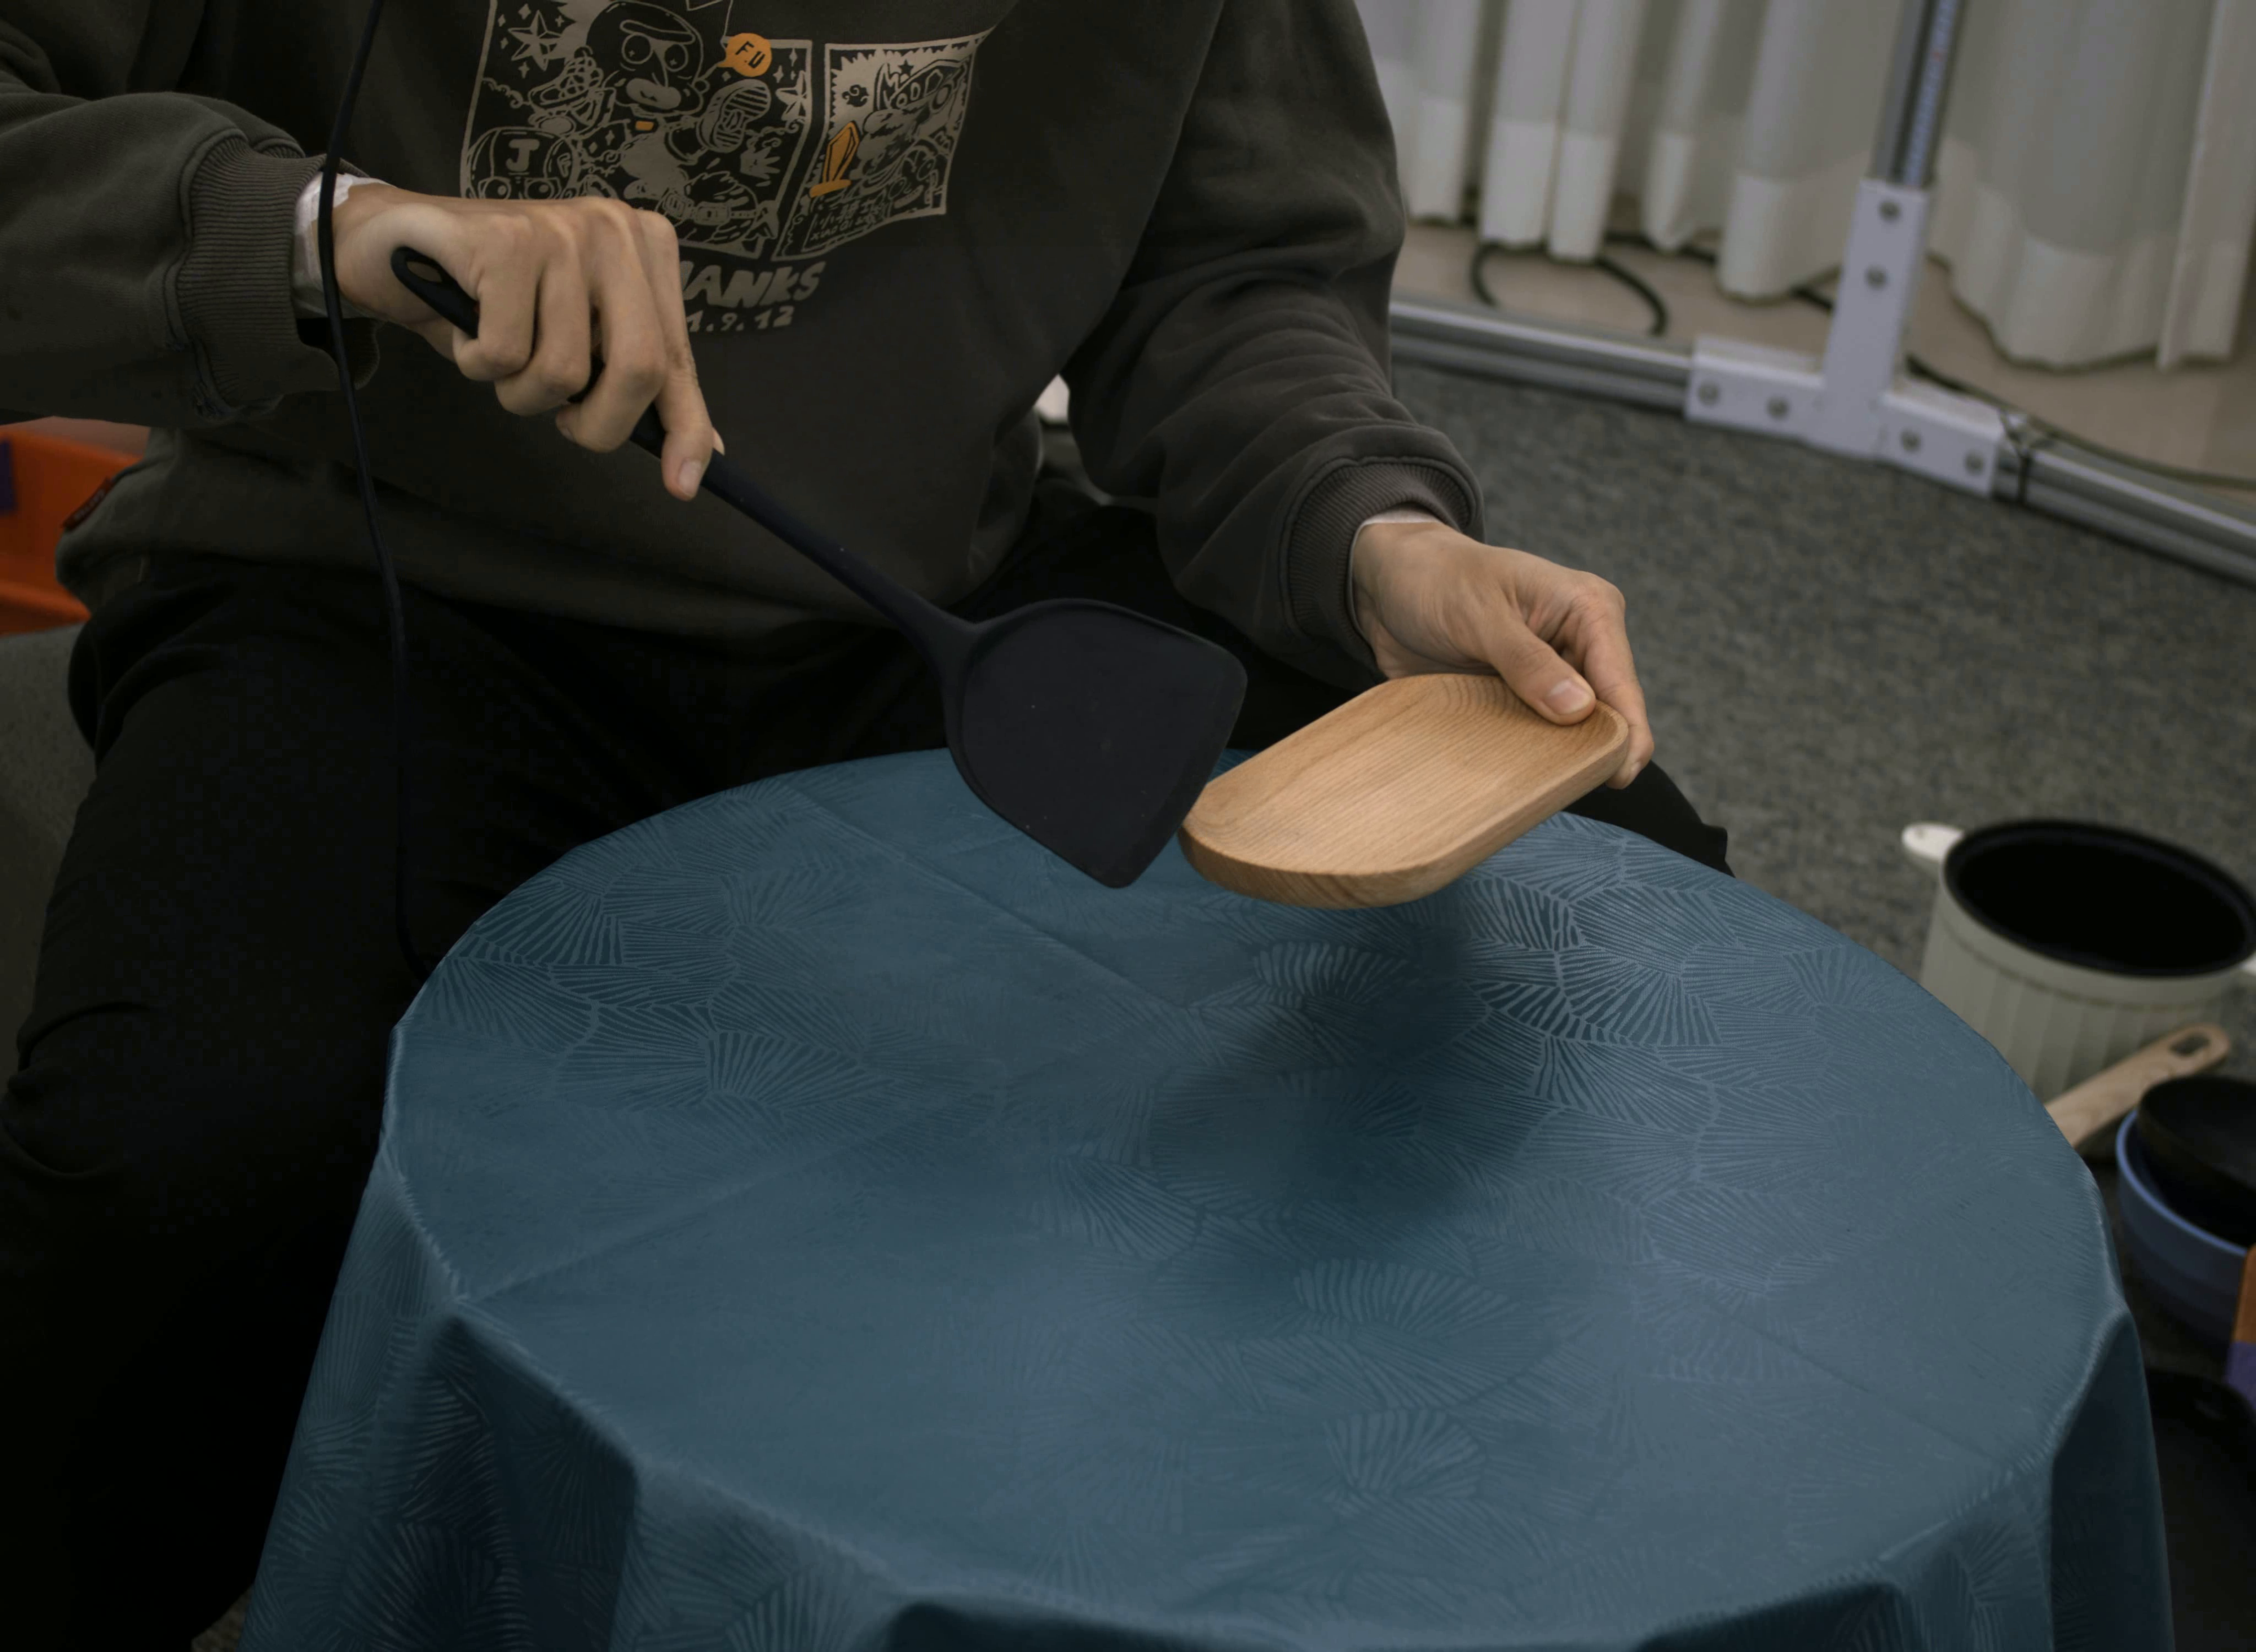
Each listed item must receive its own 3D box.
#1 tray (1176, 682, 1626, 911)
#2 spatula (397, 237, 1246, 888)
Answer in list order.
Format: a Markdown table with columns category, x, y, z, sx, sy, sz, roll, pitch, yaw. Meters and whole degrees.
| category | x | y | z | sx | sy | sz | roll | pitch | yaw |
| --- | --- | --- | --- | --- | --- | --- | --- | --- | --- |
| tray | 0.099 | -0.012 | 1.885 | 0.102 | 0.020 | 0.230 | 12 | 23 | 27 |
| spatula | -0.109 | -0.102 | 1.795 | 0.324 | 0.040 | 0.100 | 36 | 66 | -14 |
